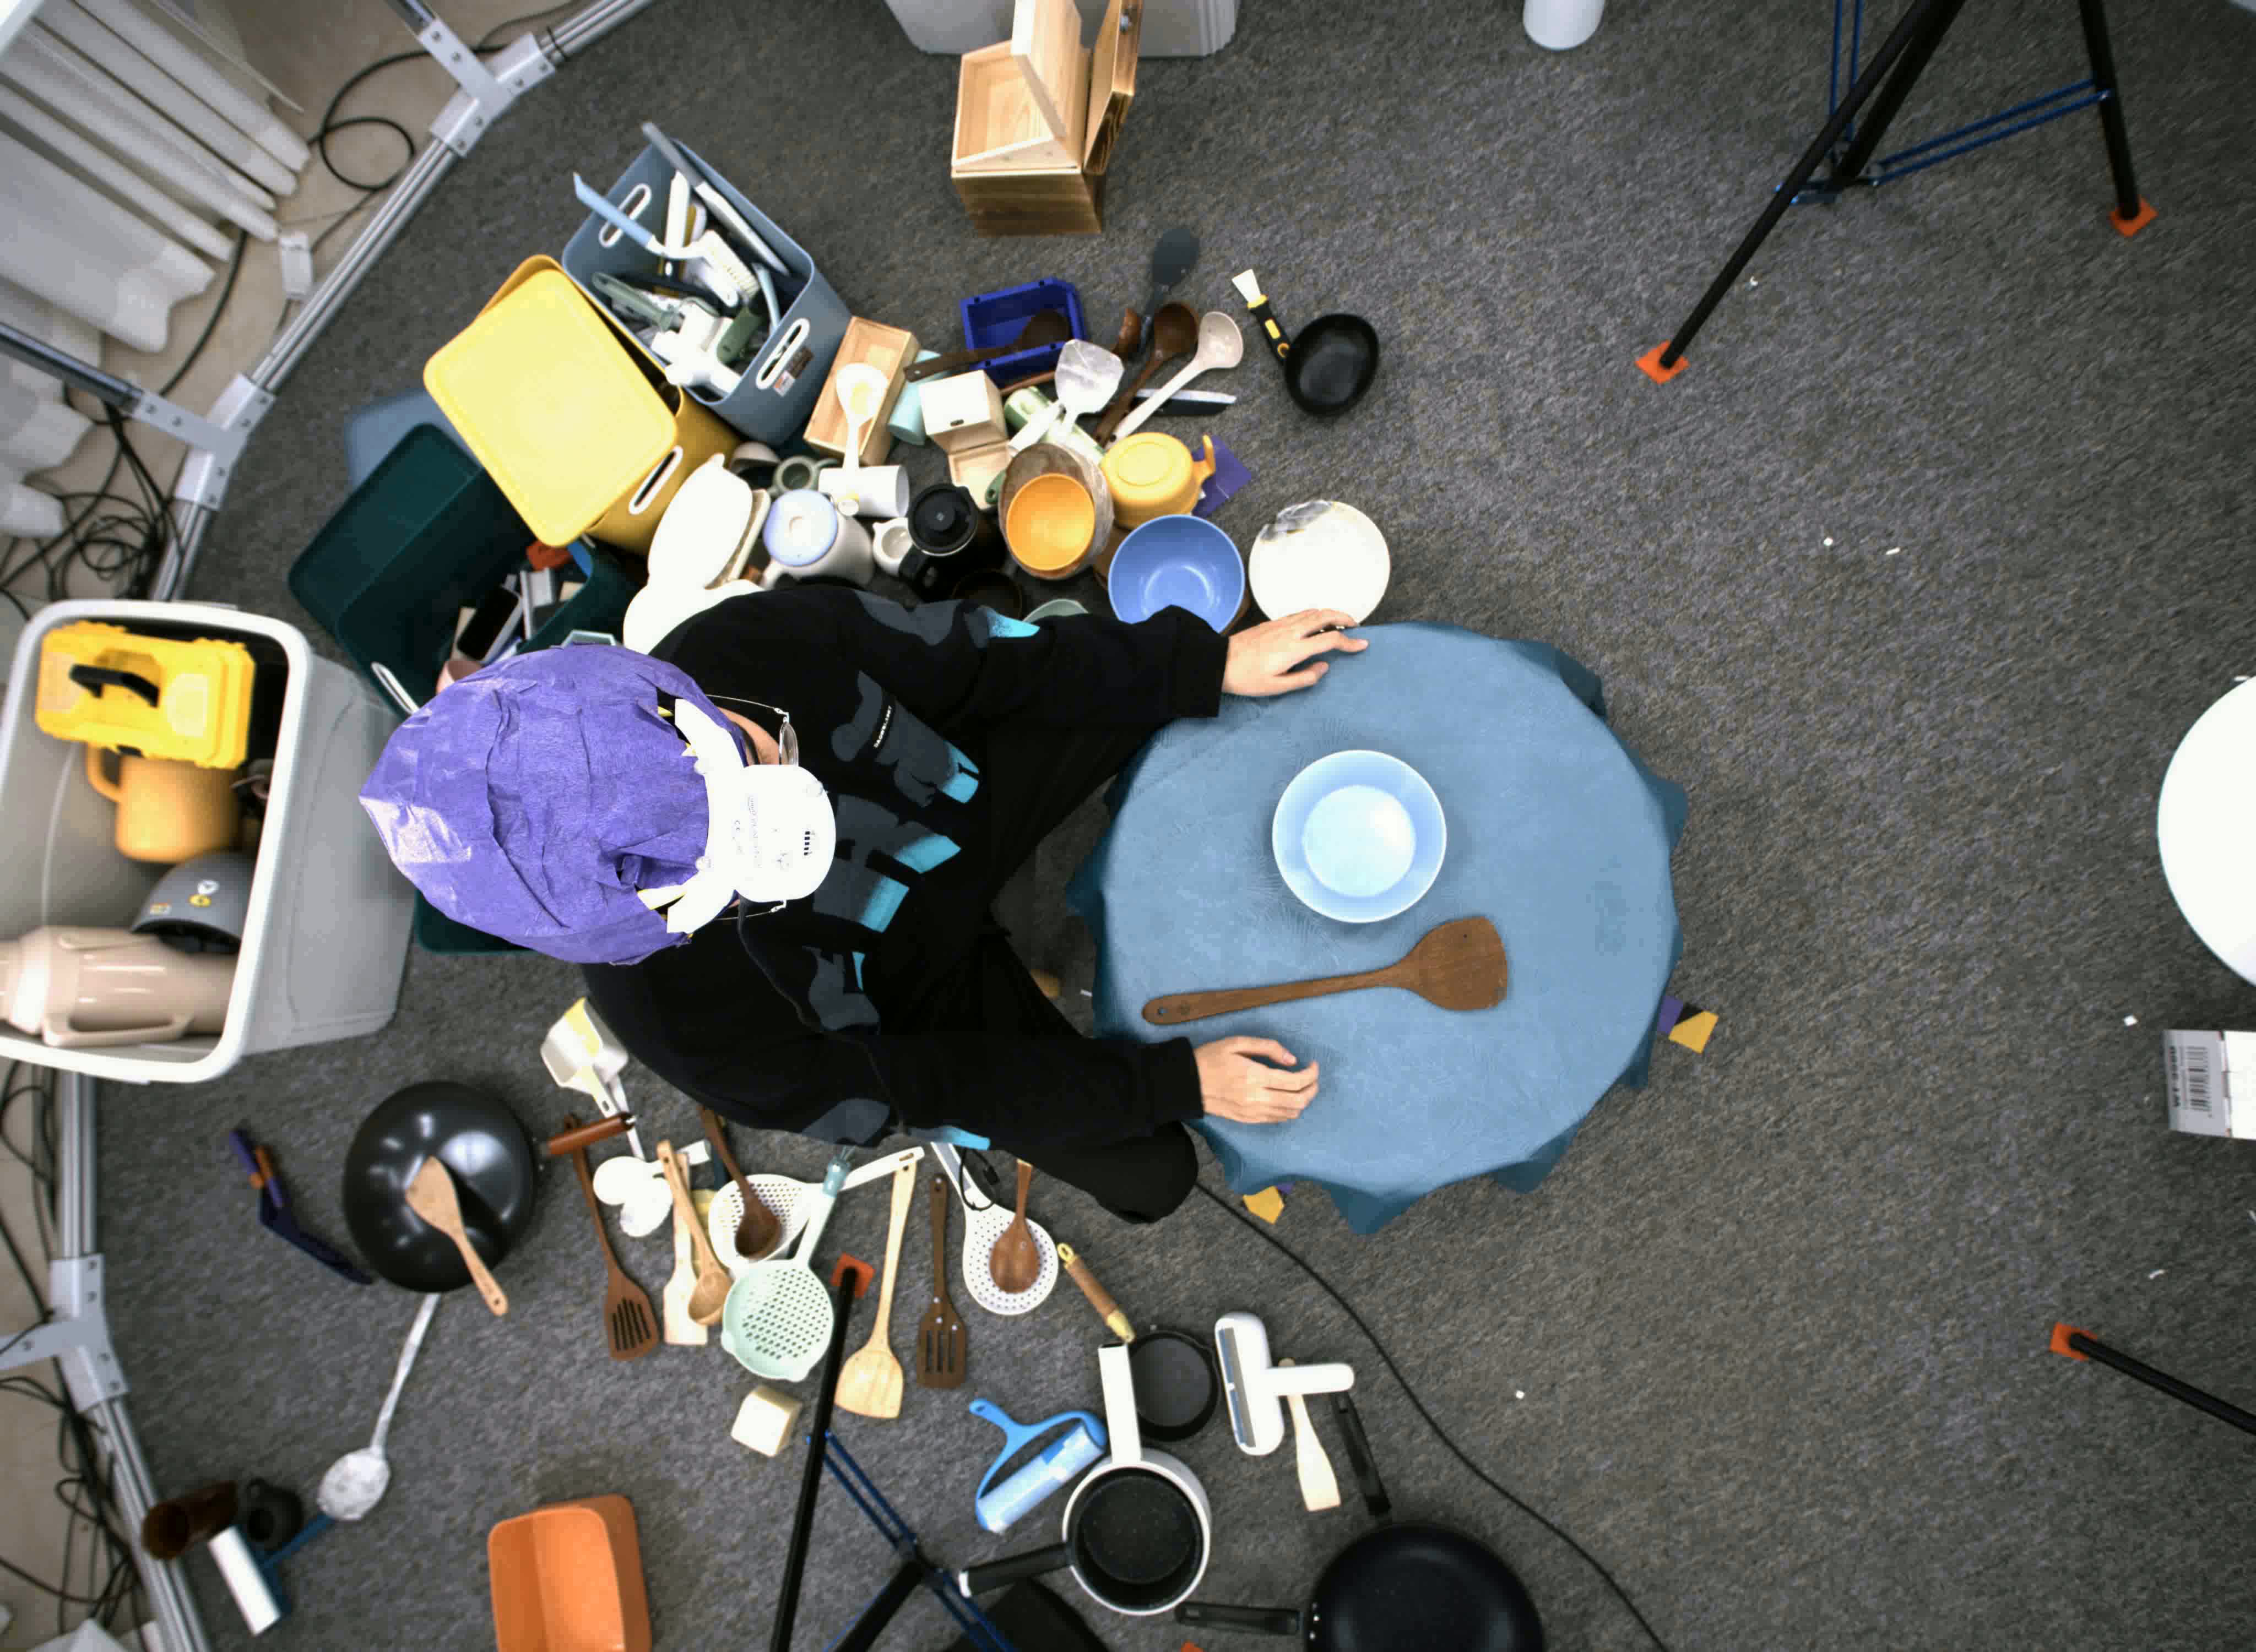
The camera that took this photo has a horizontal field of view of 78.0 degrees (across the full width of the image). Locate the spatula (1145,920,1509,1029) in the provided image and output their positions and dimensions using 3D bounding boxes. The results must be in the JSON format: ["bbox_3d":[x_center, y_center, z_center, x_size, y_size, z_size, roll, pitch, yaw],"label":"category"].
[{"bbox_3d":[0.206,0.172,1.463,0.388,0.016,0.095,-10,84,10],"label":"spatula"}]

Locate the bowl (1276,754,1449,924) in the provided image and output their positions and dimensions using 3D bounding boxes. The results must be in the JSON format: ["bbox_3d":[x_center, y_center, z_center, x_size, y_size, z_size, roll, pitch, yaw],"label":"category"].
[{"bbox_3d":[0.244,0.015,1.438,0.177,0.070,0.175,-1,85,12],"label":"bowl"}]
